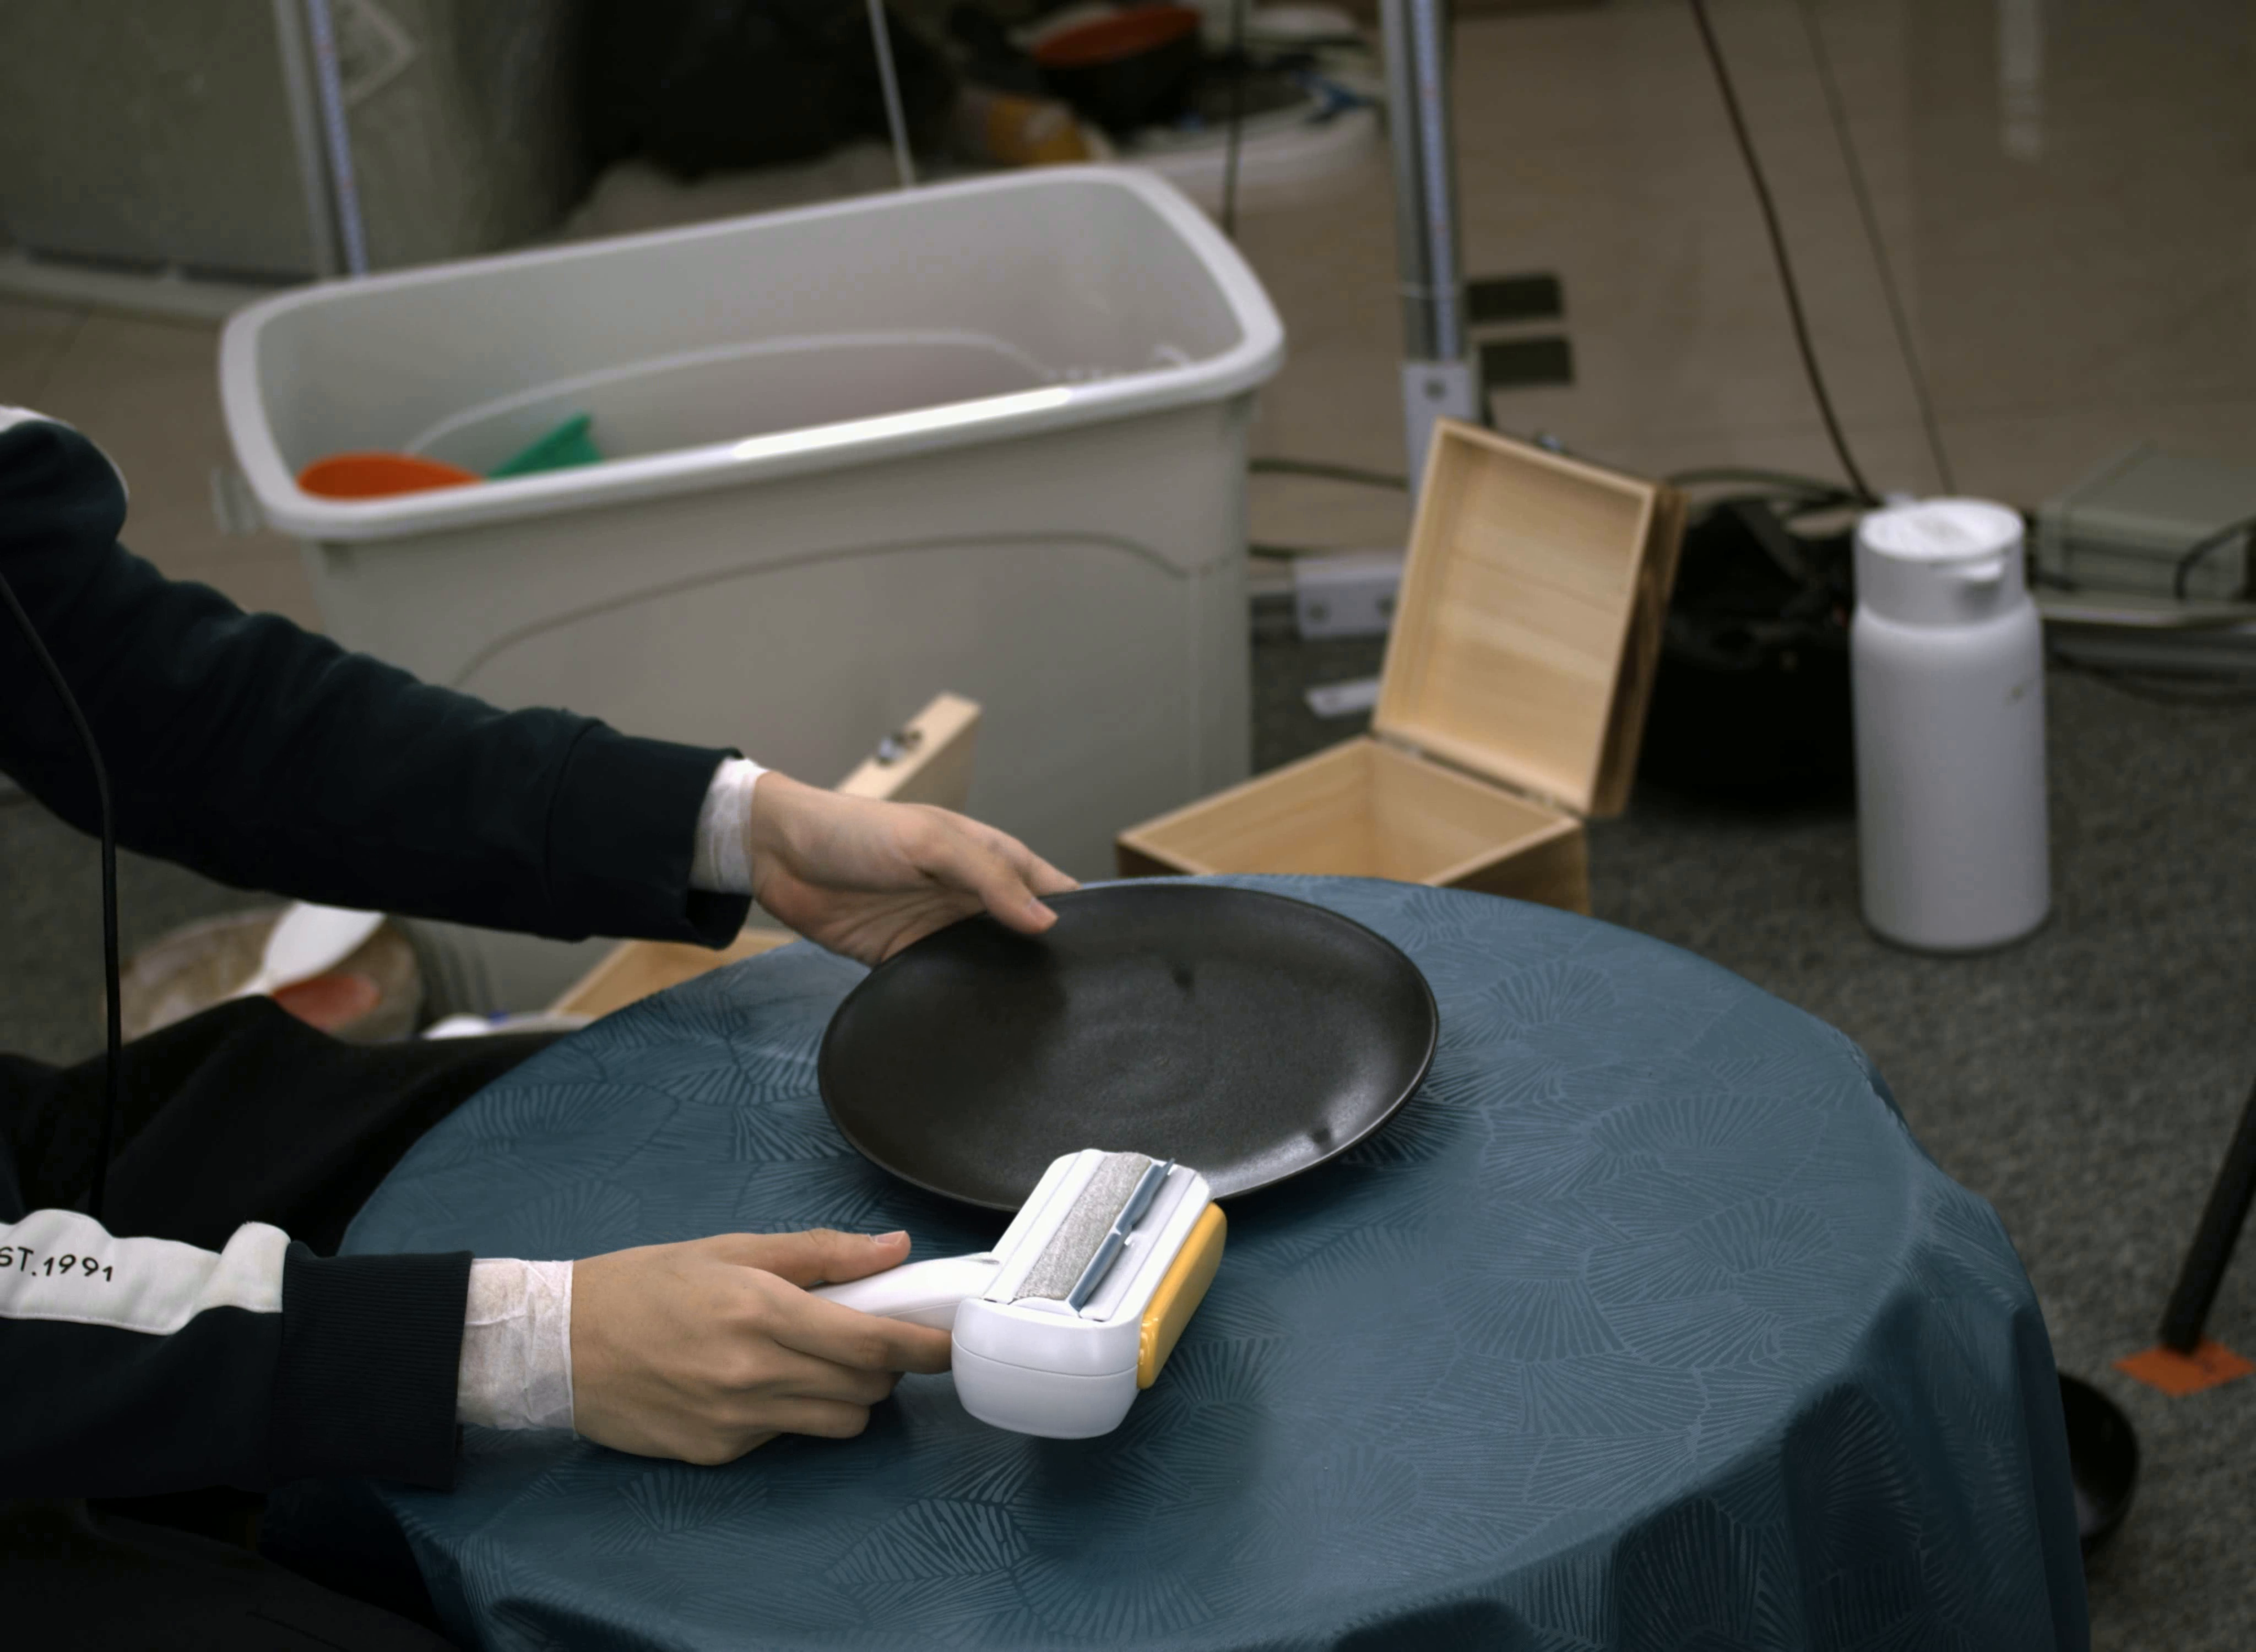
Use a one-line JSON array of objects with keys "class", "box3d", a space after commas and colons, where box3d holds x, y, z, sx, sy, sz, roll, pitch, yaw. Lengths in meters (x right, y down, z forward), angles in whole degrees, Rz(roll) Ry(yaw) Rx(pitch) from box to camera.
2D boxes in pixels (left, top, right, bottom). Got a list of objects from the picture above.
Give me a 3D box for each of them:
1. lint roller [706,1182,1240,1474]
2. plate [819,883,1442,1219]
[{"class": "lint roller", "box3d": [-0.067, 0.187, 2.014, 0.192, 0.075, 0.191, -11, 13, 20]}, {"class": "plate", "box3d": [0.002, 0.091, 2.201, 0.244, 0.024, 0.240, -4, 30, 2]}]
